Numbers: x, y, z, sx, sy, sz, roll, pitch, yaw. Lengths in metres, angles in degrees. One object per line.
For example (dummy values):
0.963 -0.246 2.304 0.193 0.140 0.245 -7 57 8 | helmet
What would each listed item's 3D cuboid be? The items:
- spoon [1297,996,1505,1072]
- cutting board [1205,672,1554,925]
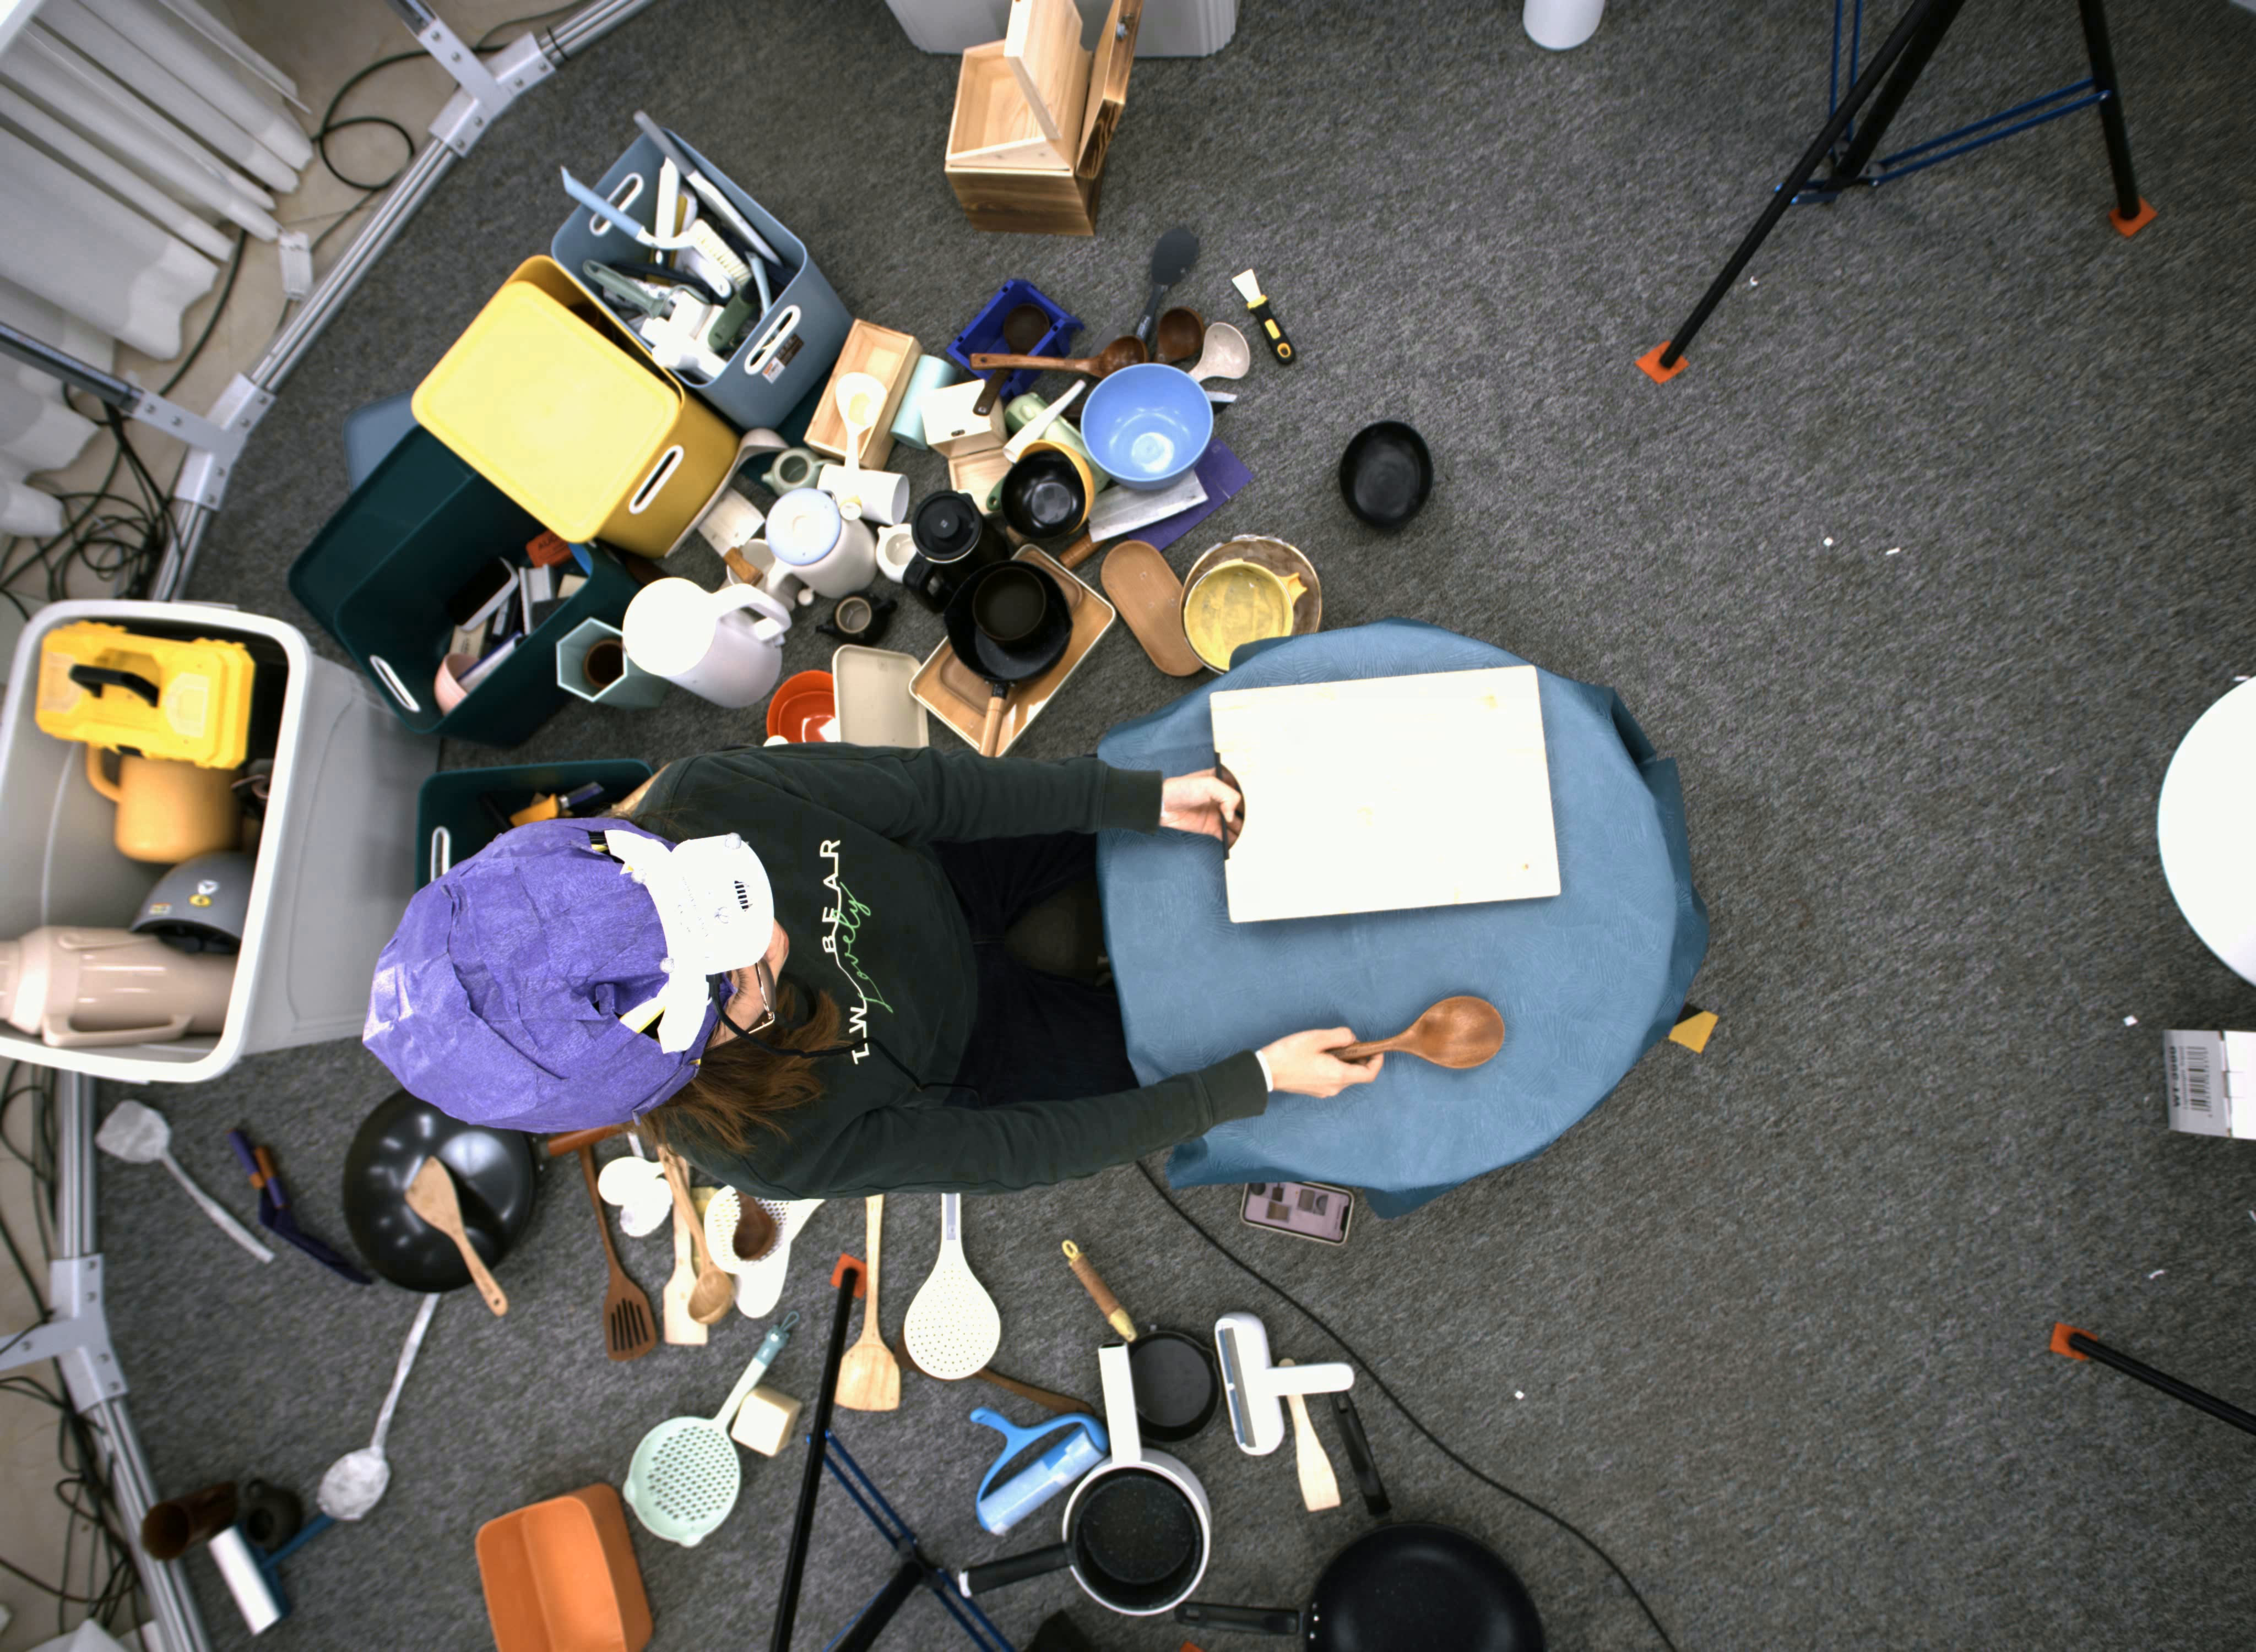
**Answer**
0.280 0.222 1.423 0.216 0.017 0.075 -10 87 0 | spoon
0.262 -0.031 1.432 0.349 0.023 0.249 -6 85 1 | cutting board
